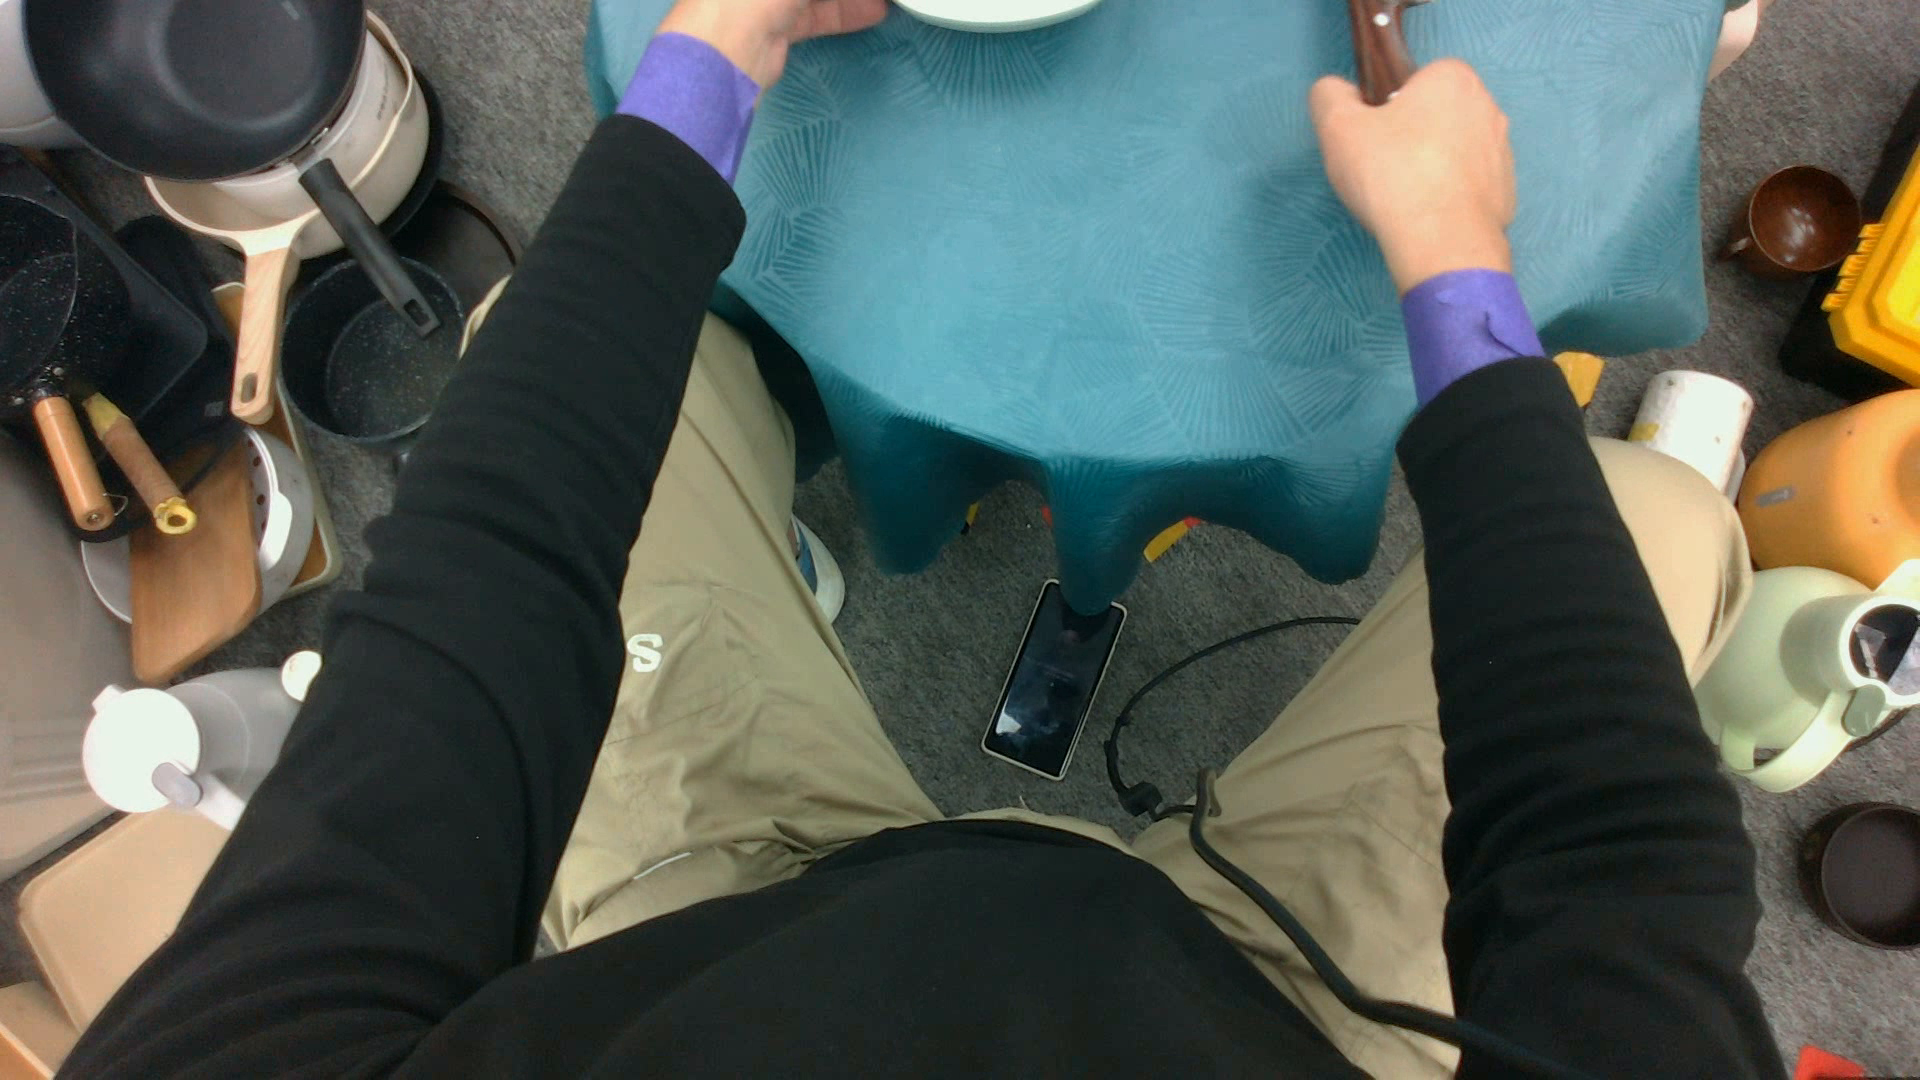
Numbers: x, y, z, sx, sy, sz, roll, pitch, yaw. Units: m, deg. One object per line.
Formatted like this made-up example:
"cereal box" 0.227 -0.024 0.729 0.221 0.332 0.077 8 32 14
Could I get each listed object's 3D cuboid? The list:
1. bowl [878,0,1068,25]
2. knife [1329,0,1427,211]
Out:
"bowl" 0.008 -0.319 0.702 0.151 0.058 0.151 0 81 2
"knife" 0.202 -0.295 0.692 0.050 0.020 0.290 1 72 -9
